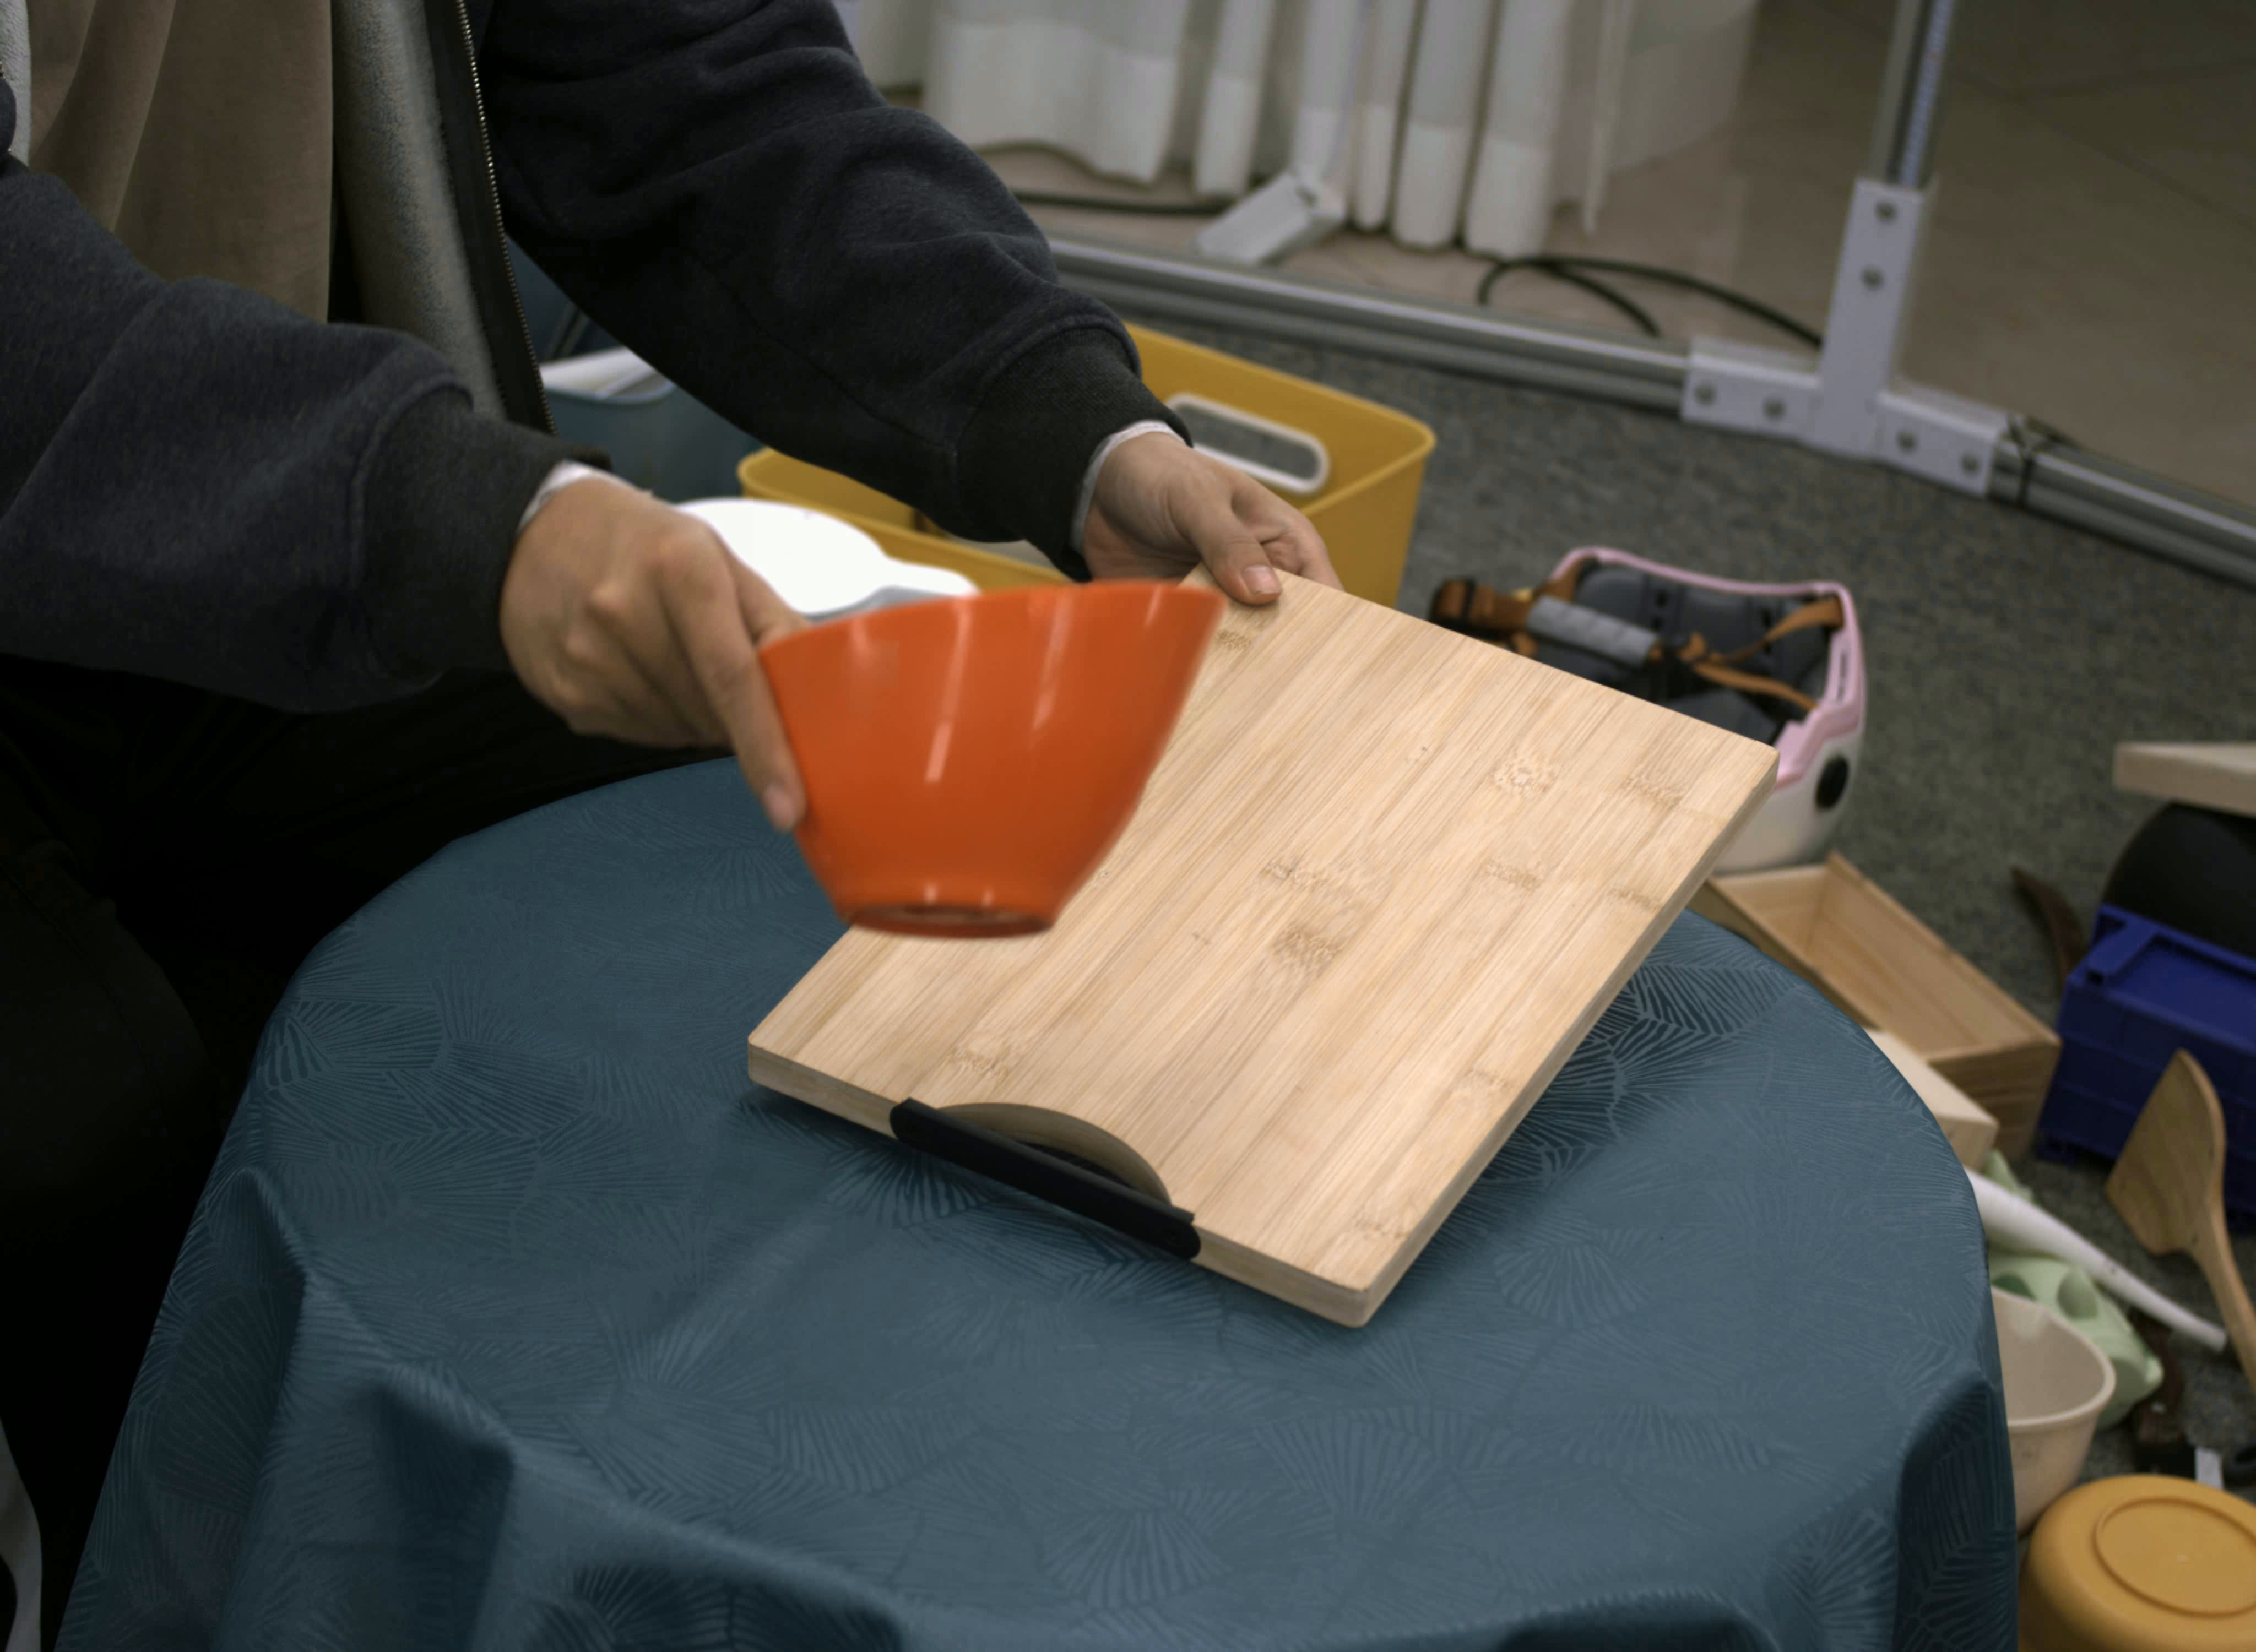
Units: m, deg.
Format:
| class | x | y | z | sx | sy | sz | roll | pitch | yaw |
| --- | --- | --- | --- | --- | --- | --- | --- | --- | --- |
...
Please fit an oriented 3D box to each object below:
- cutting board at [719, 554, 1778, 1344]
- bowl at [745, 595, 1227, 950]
| class | x | y | z | sx | sy | sz | roll | pitch | yaw |
| --- | --- | --- | --- | --- | --- | --- | --- | --- | --- |
| cutting board | 0.051 | 0.033 | 1.890 | 0.252 | 0.023 | 0.349 | 20 | 41 | 22 |
| bowl | -0.045 | -0.017 | 1.629 | 0.147 | 0.105 | 0.147 | 3 | -9 | 0 |
